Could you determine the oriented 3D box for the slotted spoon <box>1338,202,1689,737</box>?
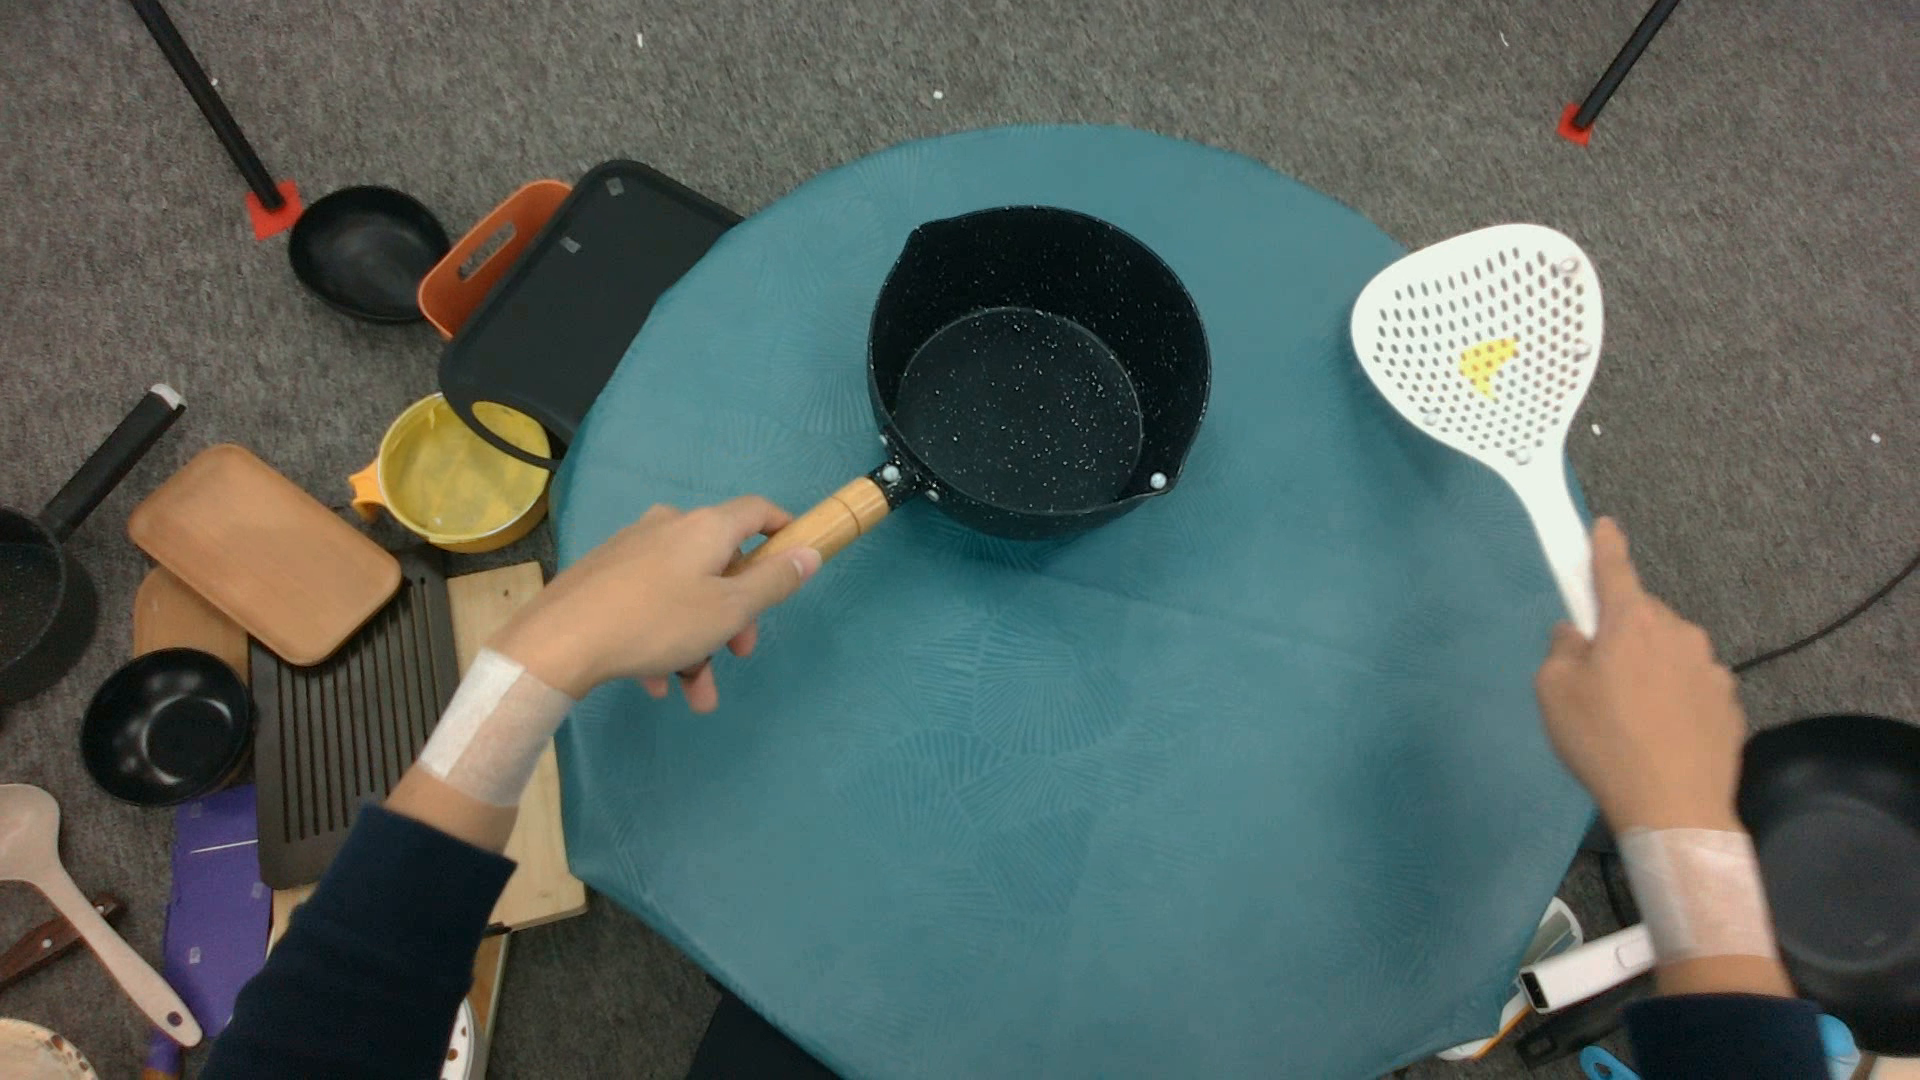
[{"bbox_3d":[0.303,-0.050,0.736,0.136,0.050,0.349,-21,45,19],"label":"slotted spoon"}]

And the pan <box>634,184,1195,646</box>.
[{"bbox_3d":[-0.026,-0.047,0.725,0.207,0.108,0.344,45,69,9],"label":"pan"}]
